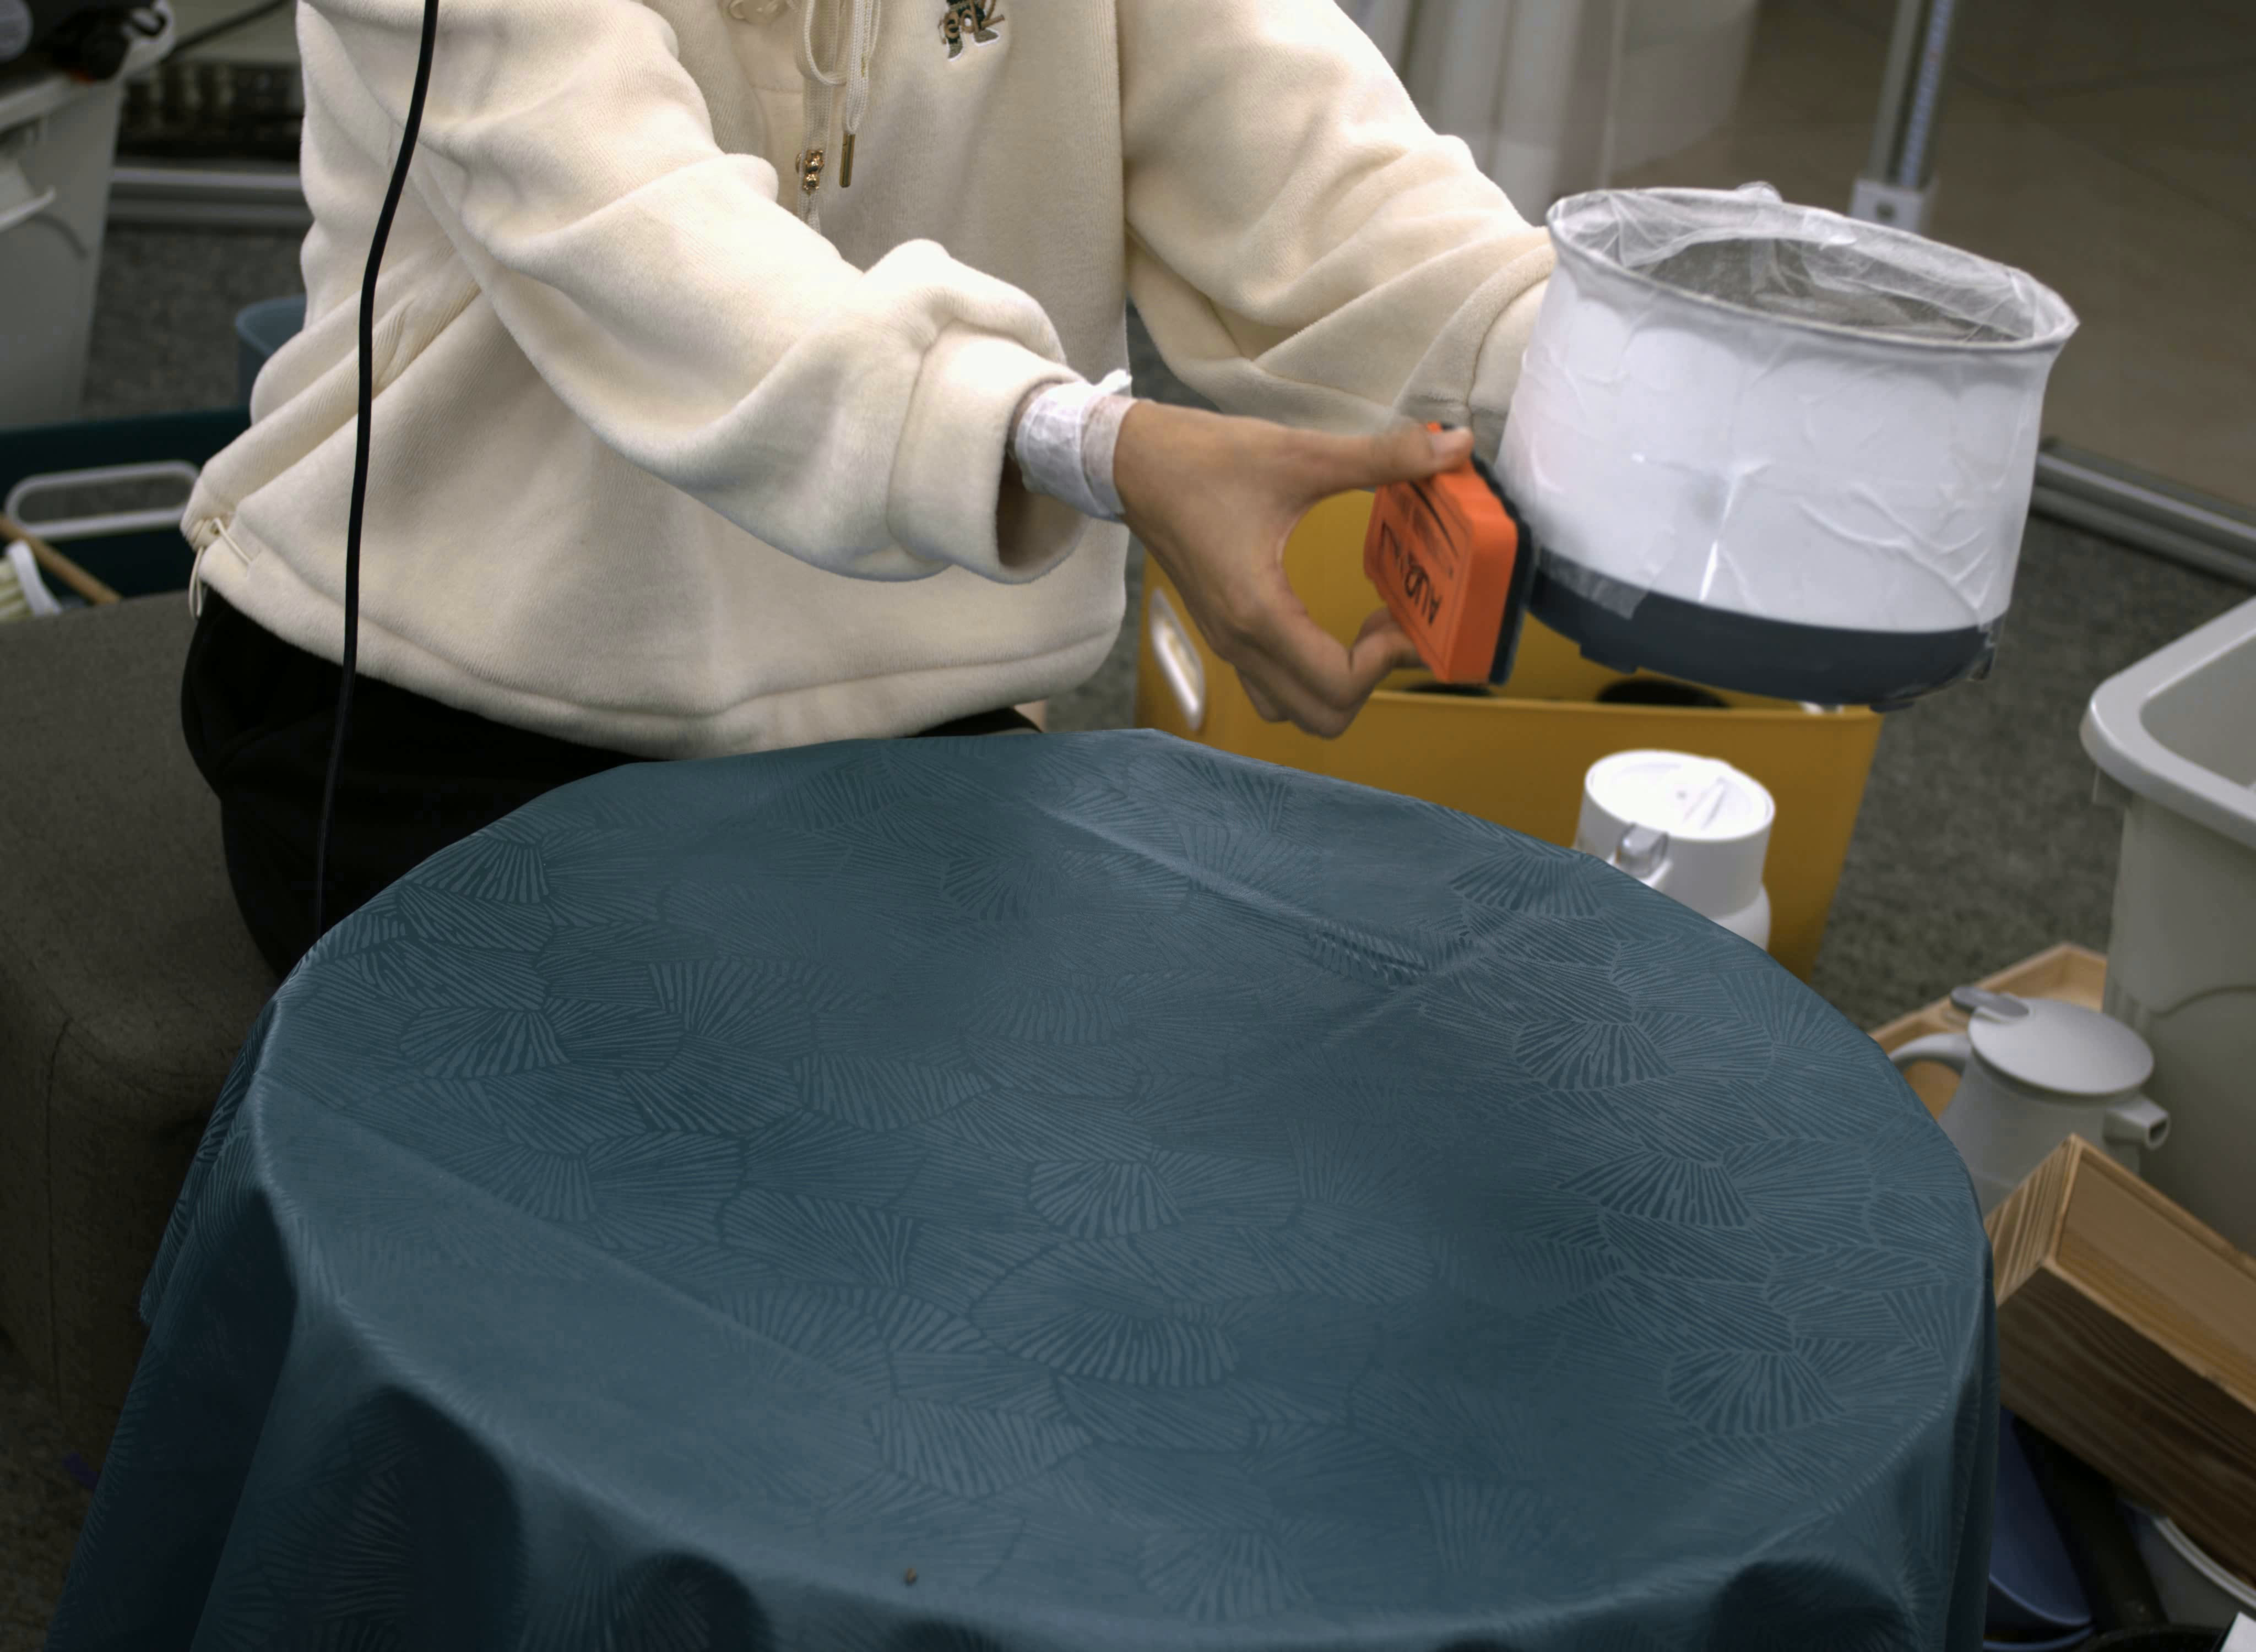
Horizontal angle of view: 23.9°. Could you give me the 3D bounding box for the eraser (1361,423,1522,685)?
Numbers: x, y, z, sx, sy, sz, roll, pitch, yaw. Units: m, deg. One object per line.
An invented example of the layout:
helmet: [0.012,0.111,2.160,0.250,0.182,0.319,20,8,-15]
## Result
eraser: [0.102,-0.090,1.744,0.023,0.059,0.109,5,22,-13]

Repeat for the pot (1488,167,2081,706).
pot: [0.209,-0.137,1.778,0.178,0.136,0.235,8,20,-8]
